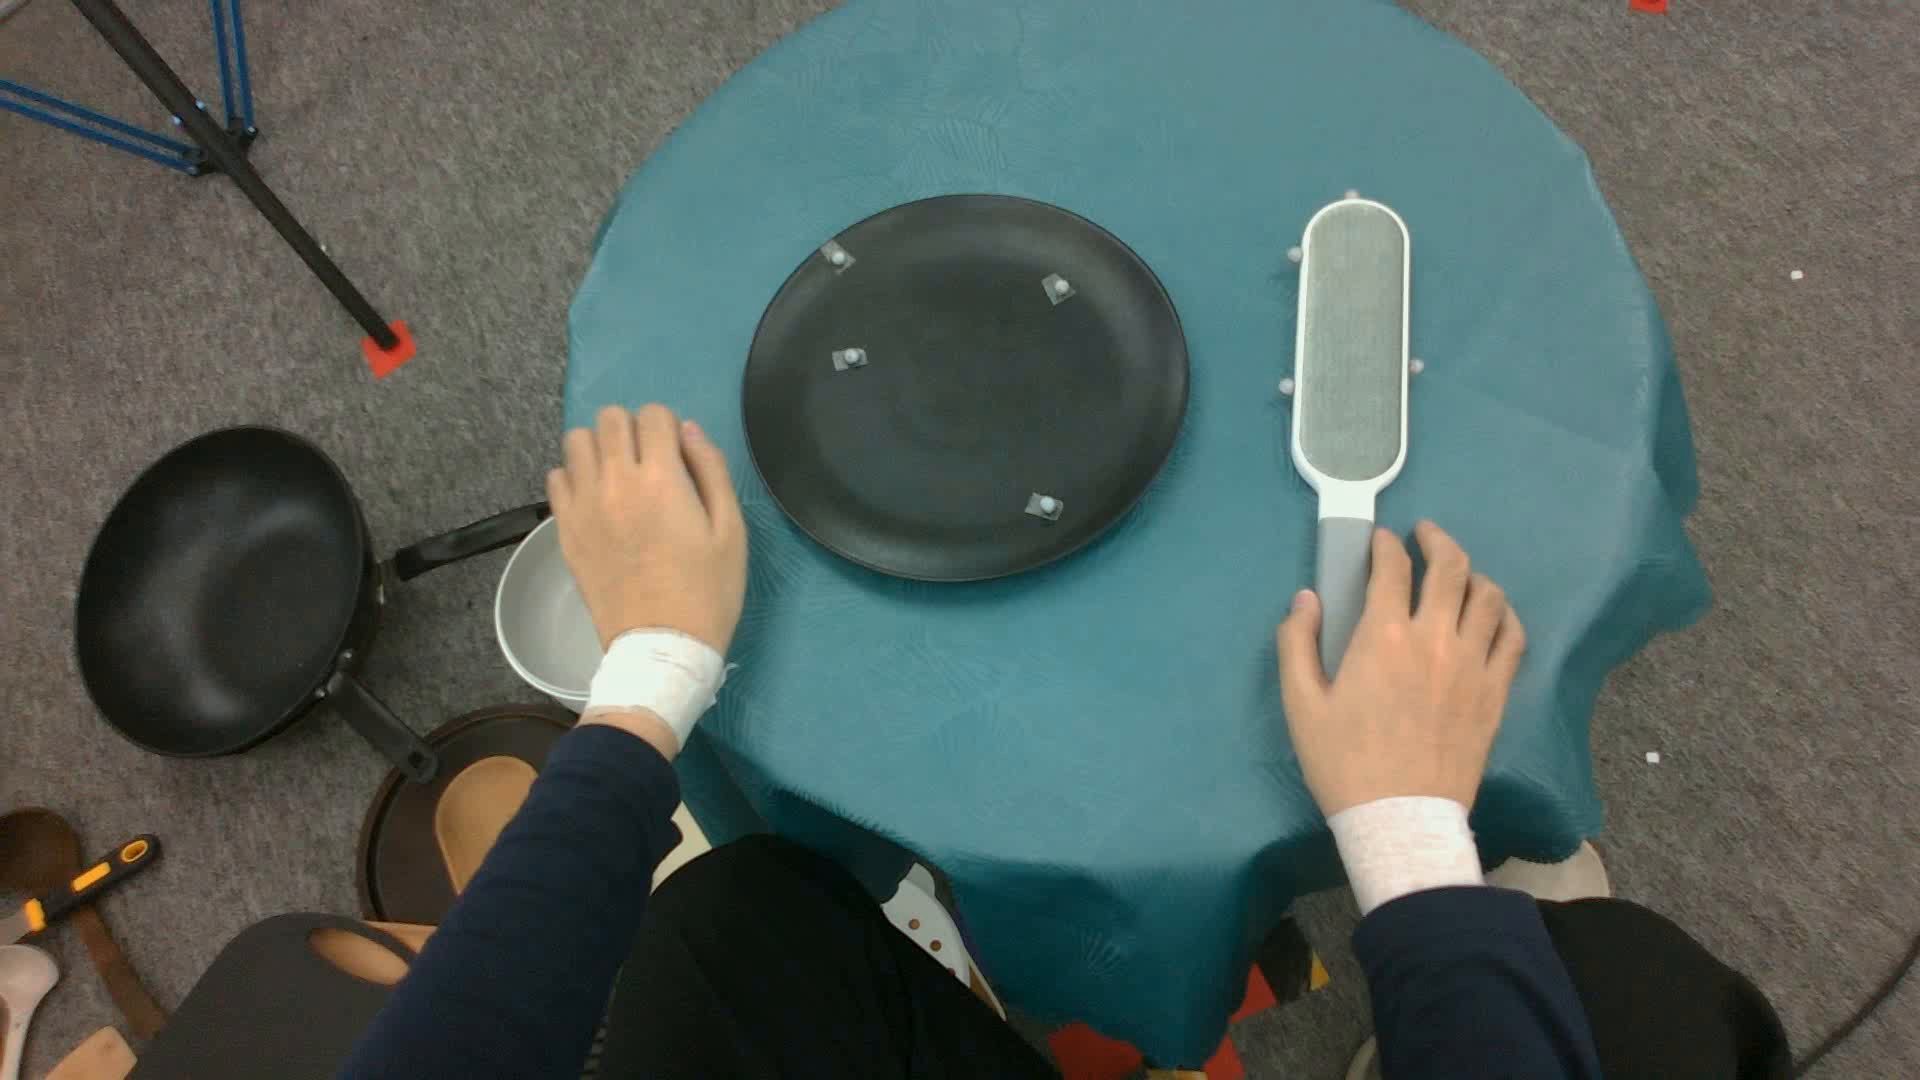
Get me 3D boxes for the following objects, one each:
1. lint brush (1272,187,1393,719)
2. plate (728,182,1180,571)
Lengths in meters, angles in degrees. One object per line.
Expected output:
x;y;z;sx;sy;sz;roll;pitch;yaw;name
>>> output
0.190;-0.056;0.709;0.060;0.021;0.310;8;66;4;lint brush
-0.004;-0.092;0.747;0.244;0.023;0.245;-2;64;5;plate
